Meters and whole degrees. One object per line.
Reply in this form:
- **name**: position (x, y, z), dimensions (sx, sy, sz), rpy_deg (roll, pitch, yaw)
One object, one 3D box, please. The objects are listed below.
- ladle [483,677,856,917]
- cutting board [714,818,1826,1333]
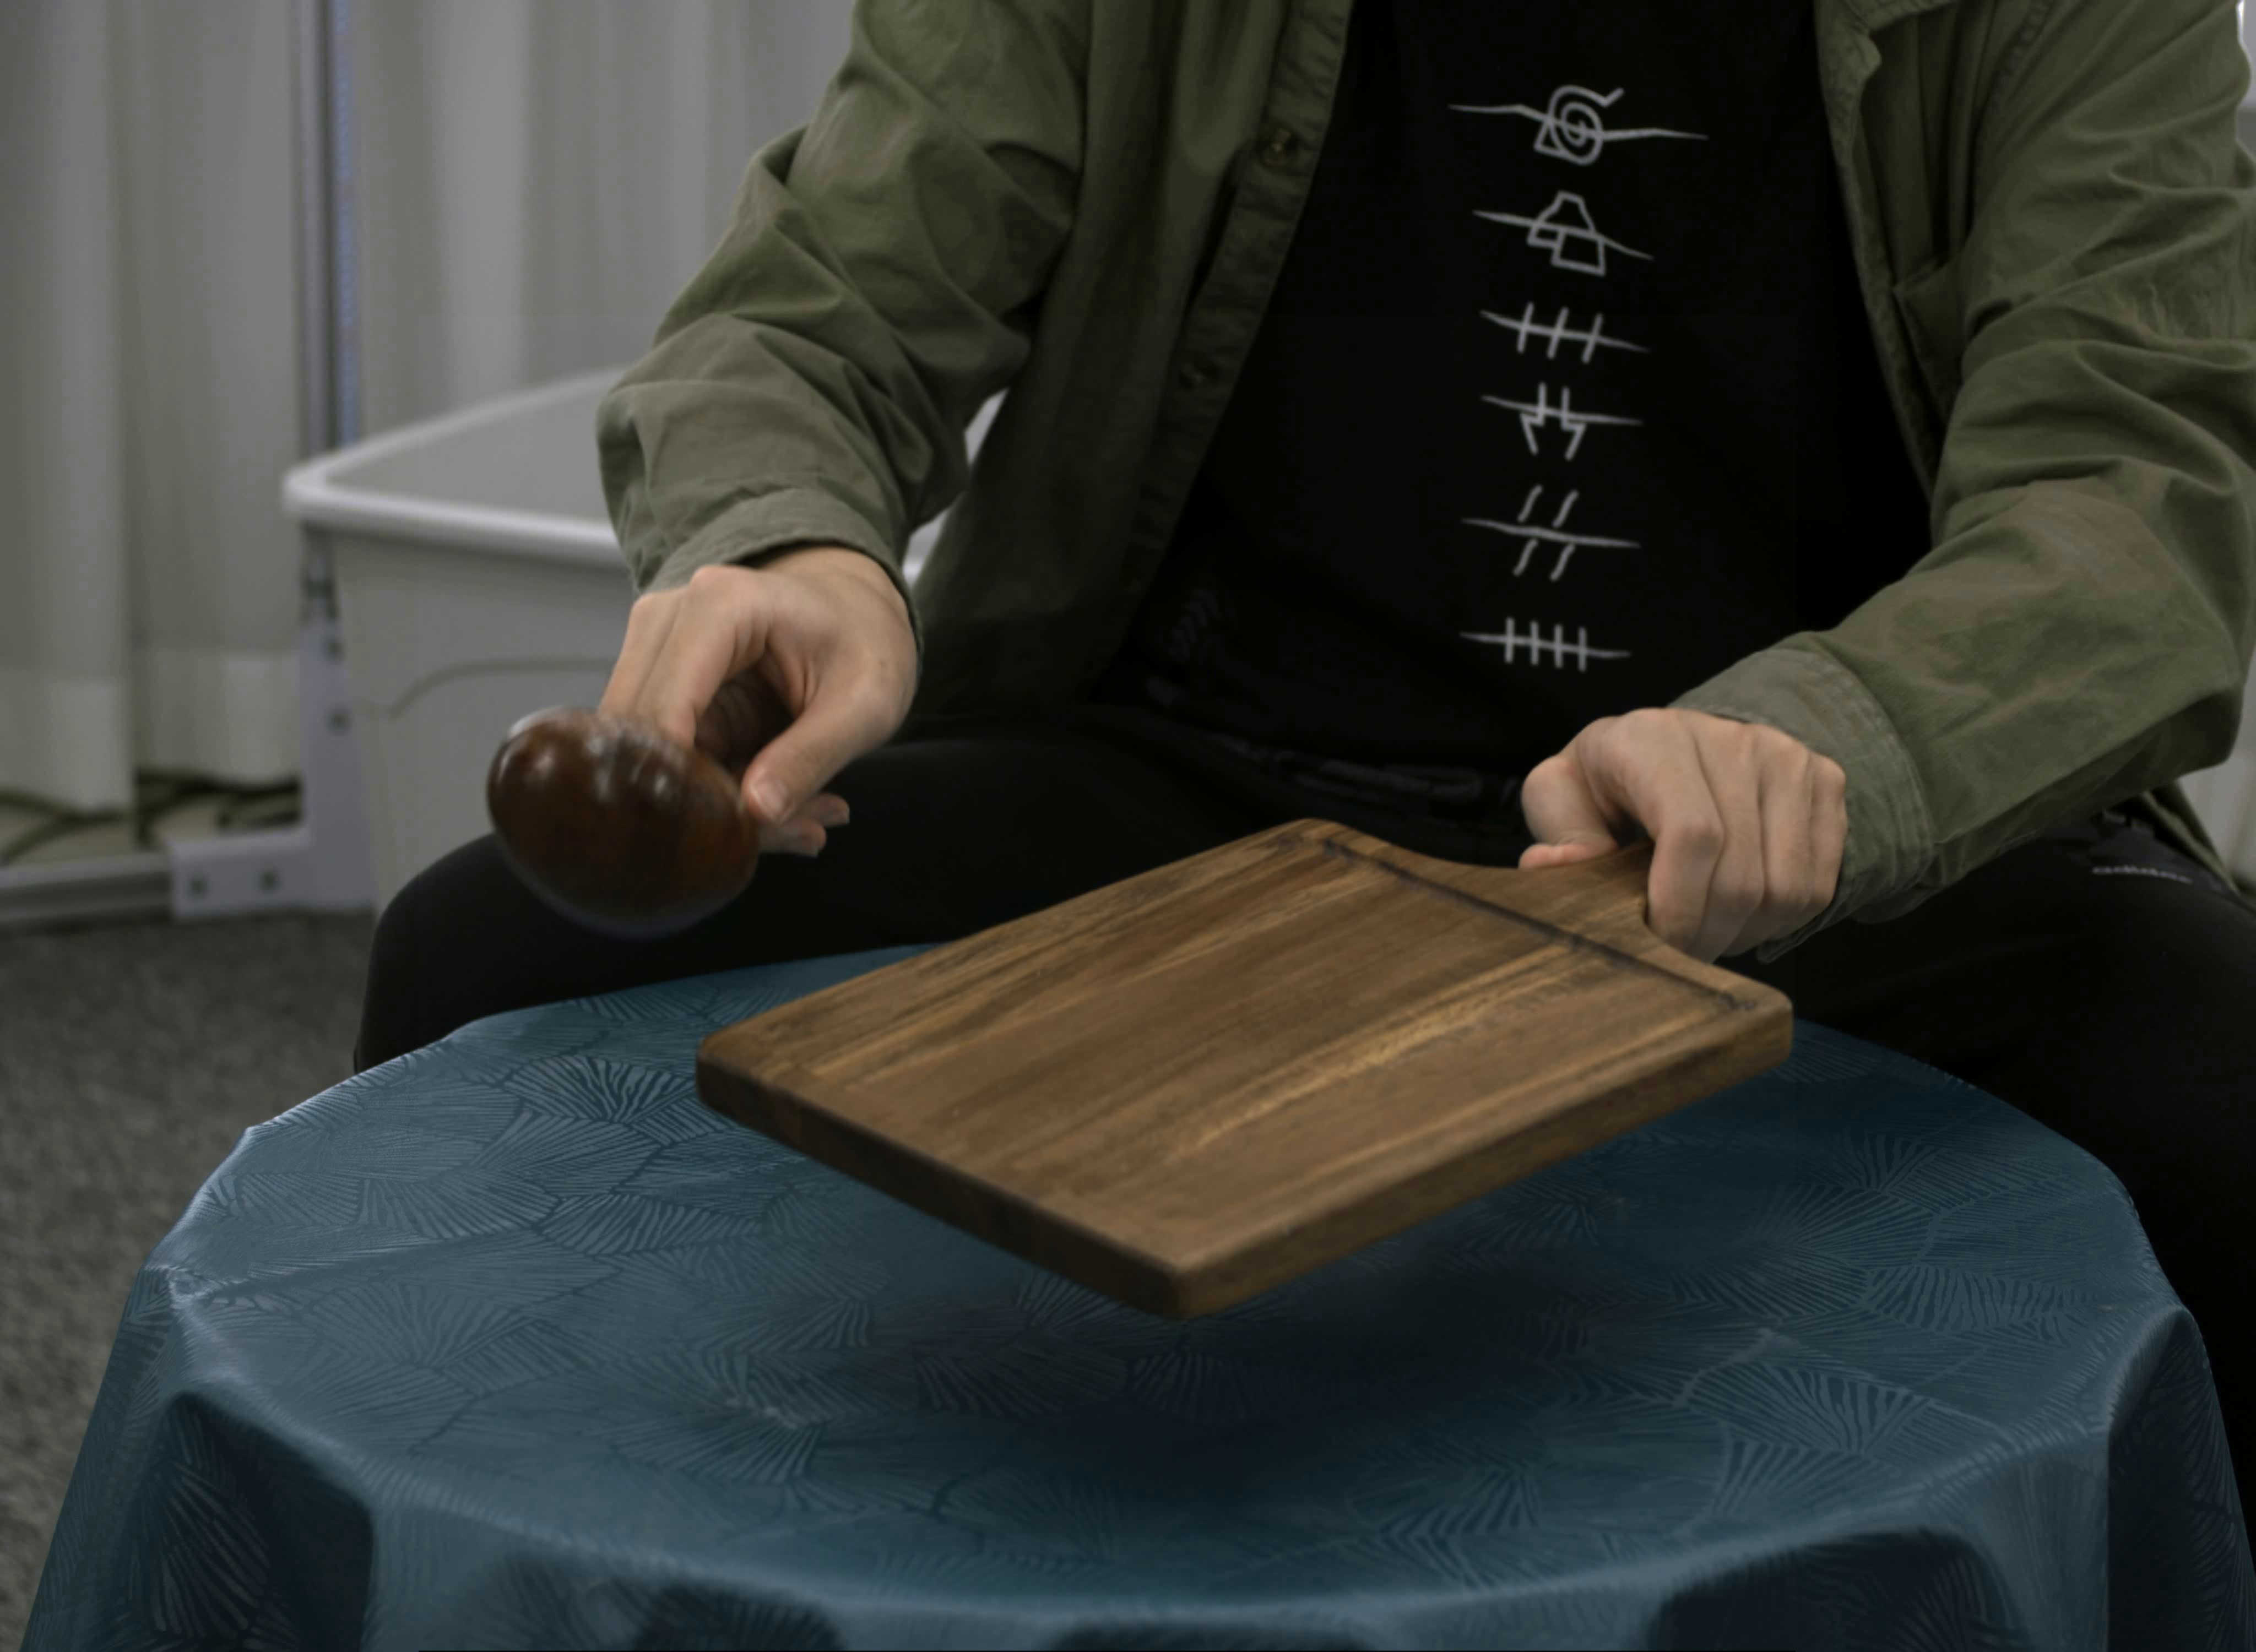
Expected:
- **ladle**: position (-0.123, -0.025, 1.586), dimensions (0.081, 0.077, 0.274), rpy_deg (21, 14, 8)
- **cutting board**: position (0.077, 0.052, 1.490), dimensions (0.353, 0.023, 0.198), rpy_deg (-18, 29, -39)
